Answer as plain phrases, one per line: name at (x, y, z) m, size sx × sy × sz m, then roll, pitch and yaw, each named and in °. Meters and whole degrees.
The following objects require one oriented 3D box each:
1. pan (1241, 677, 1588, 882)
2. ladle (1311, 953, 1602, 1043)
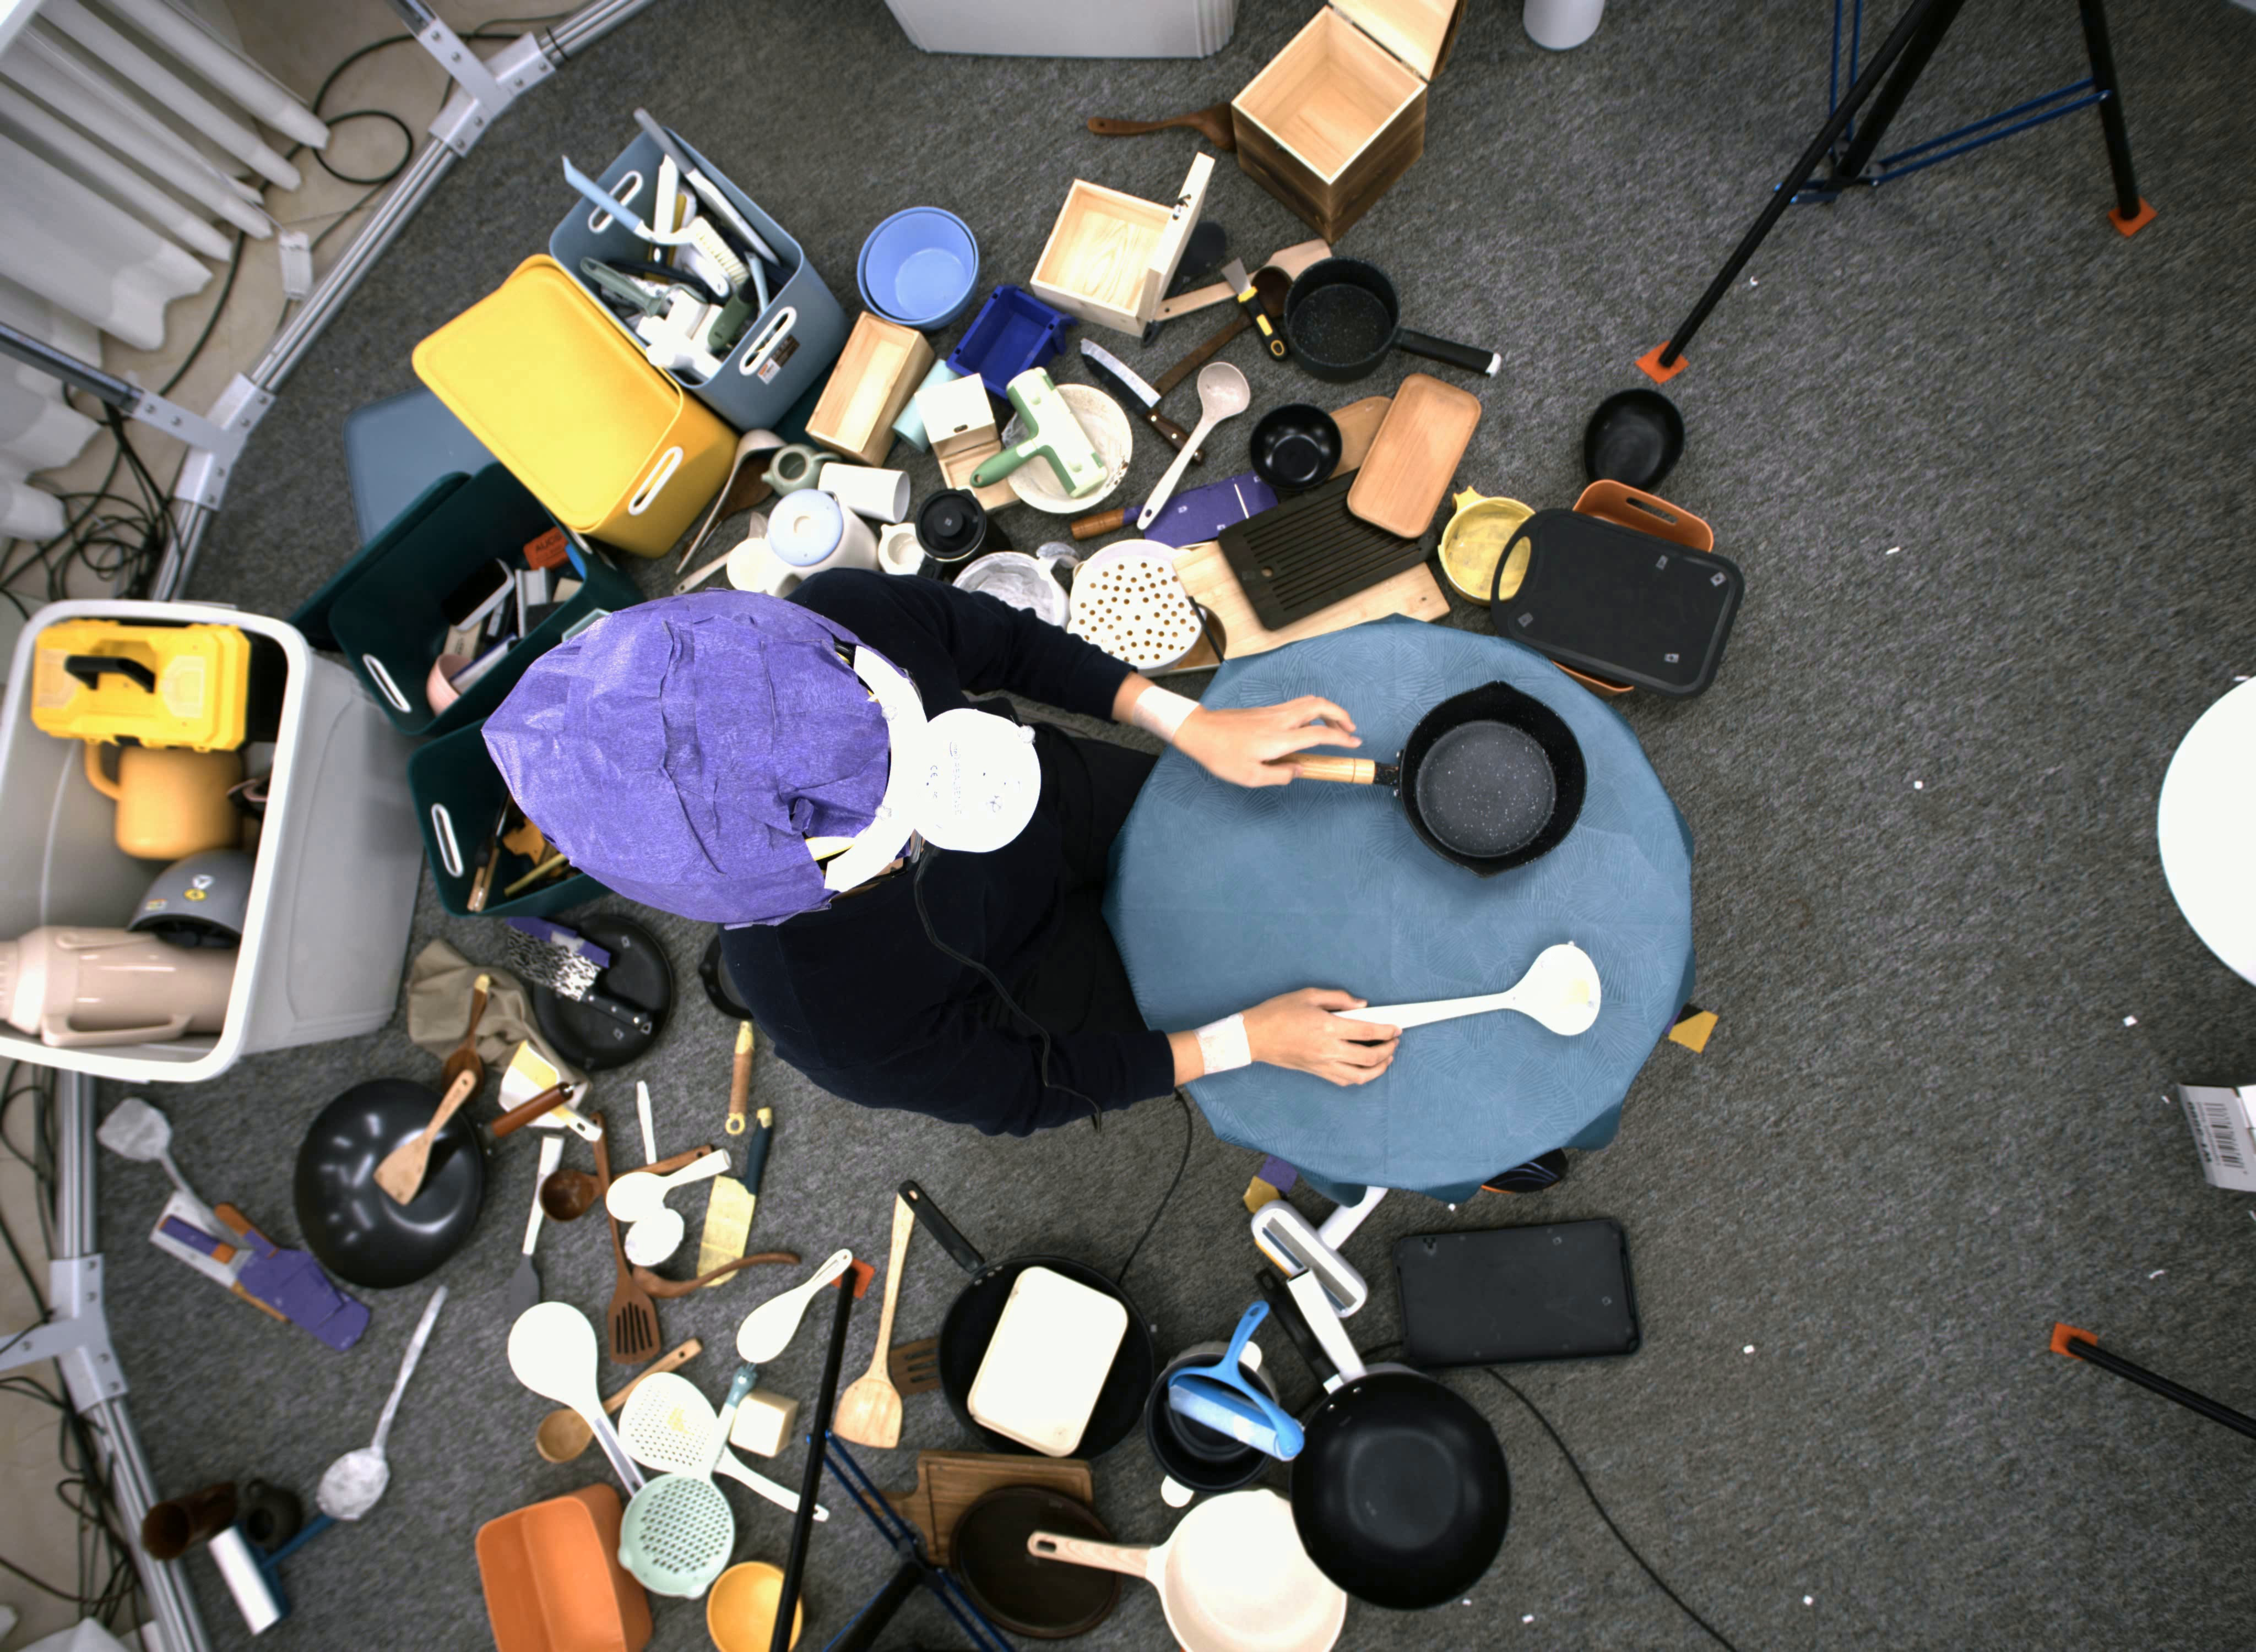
pan at (0.289, -0.050, 1.408) m, size 0.344 × 0.108 × 0.207 m, roll 3°, pitch 88°, yaw 9°
ladle at (0.332, 0.185, 1.414) m, size 0.294 × 0.070 × 0.089 m, roll -7°, pitch 83°, yaw 12°
